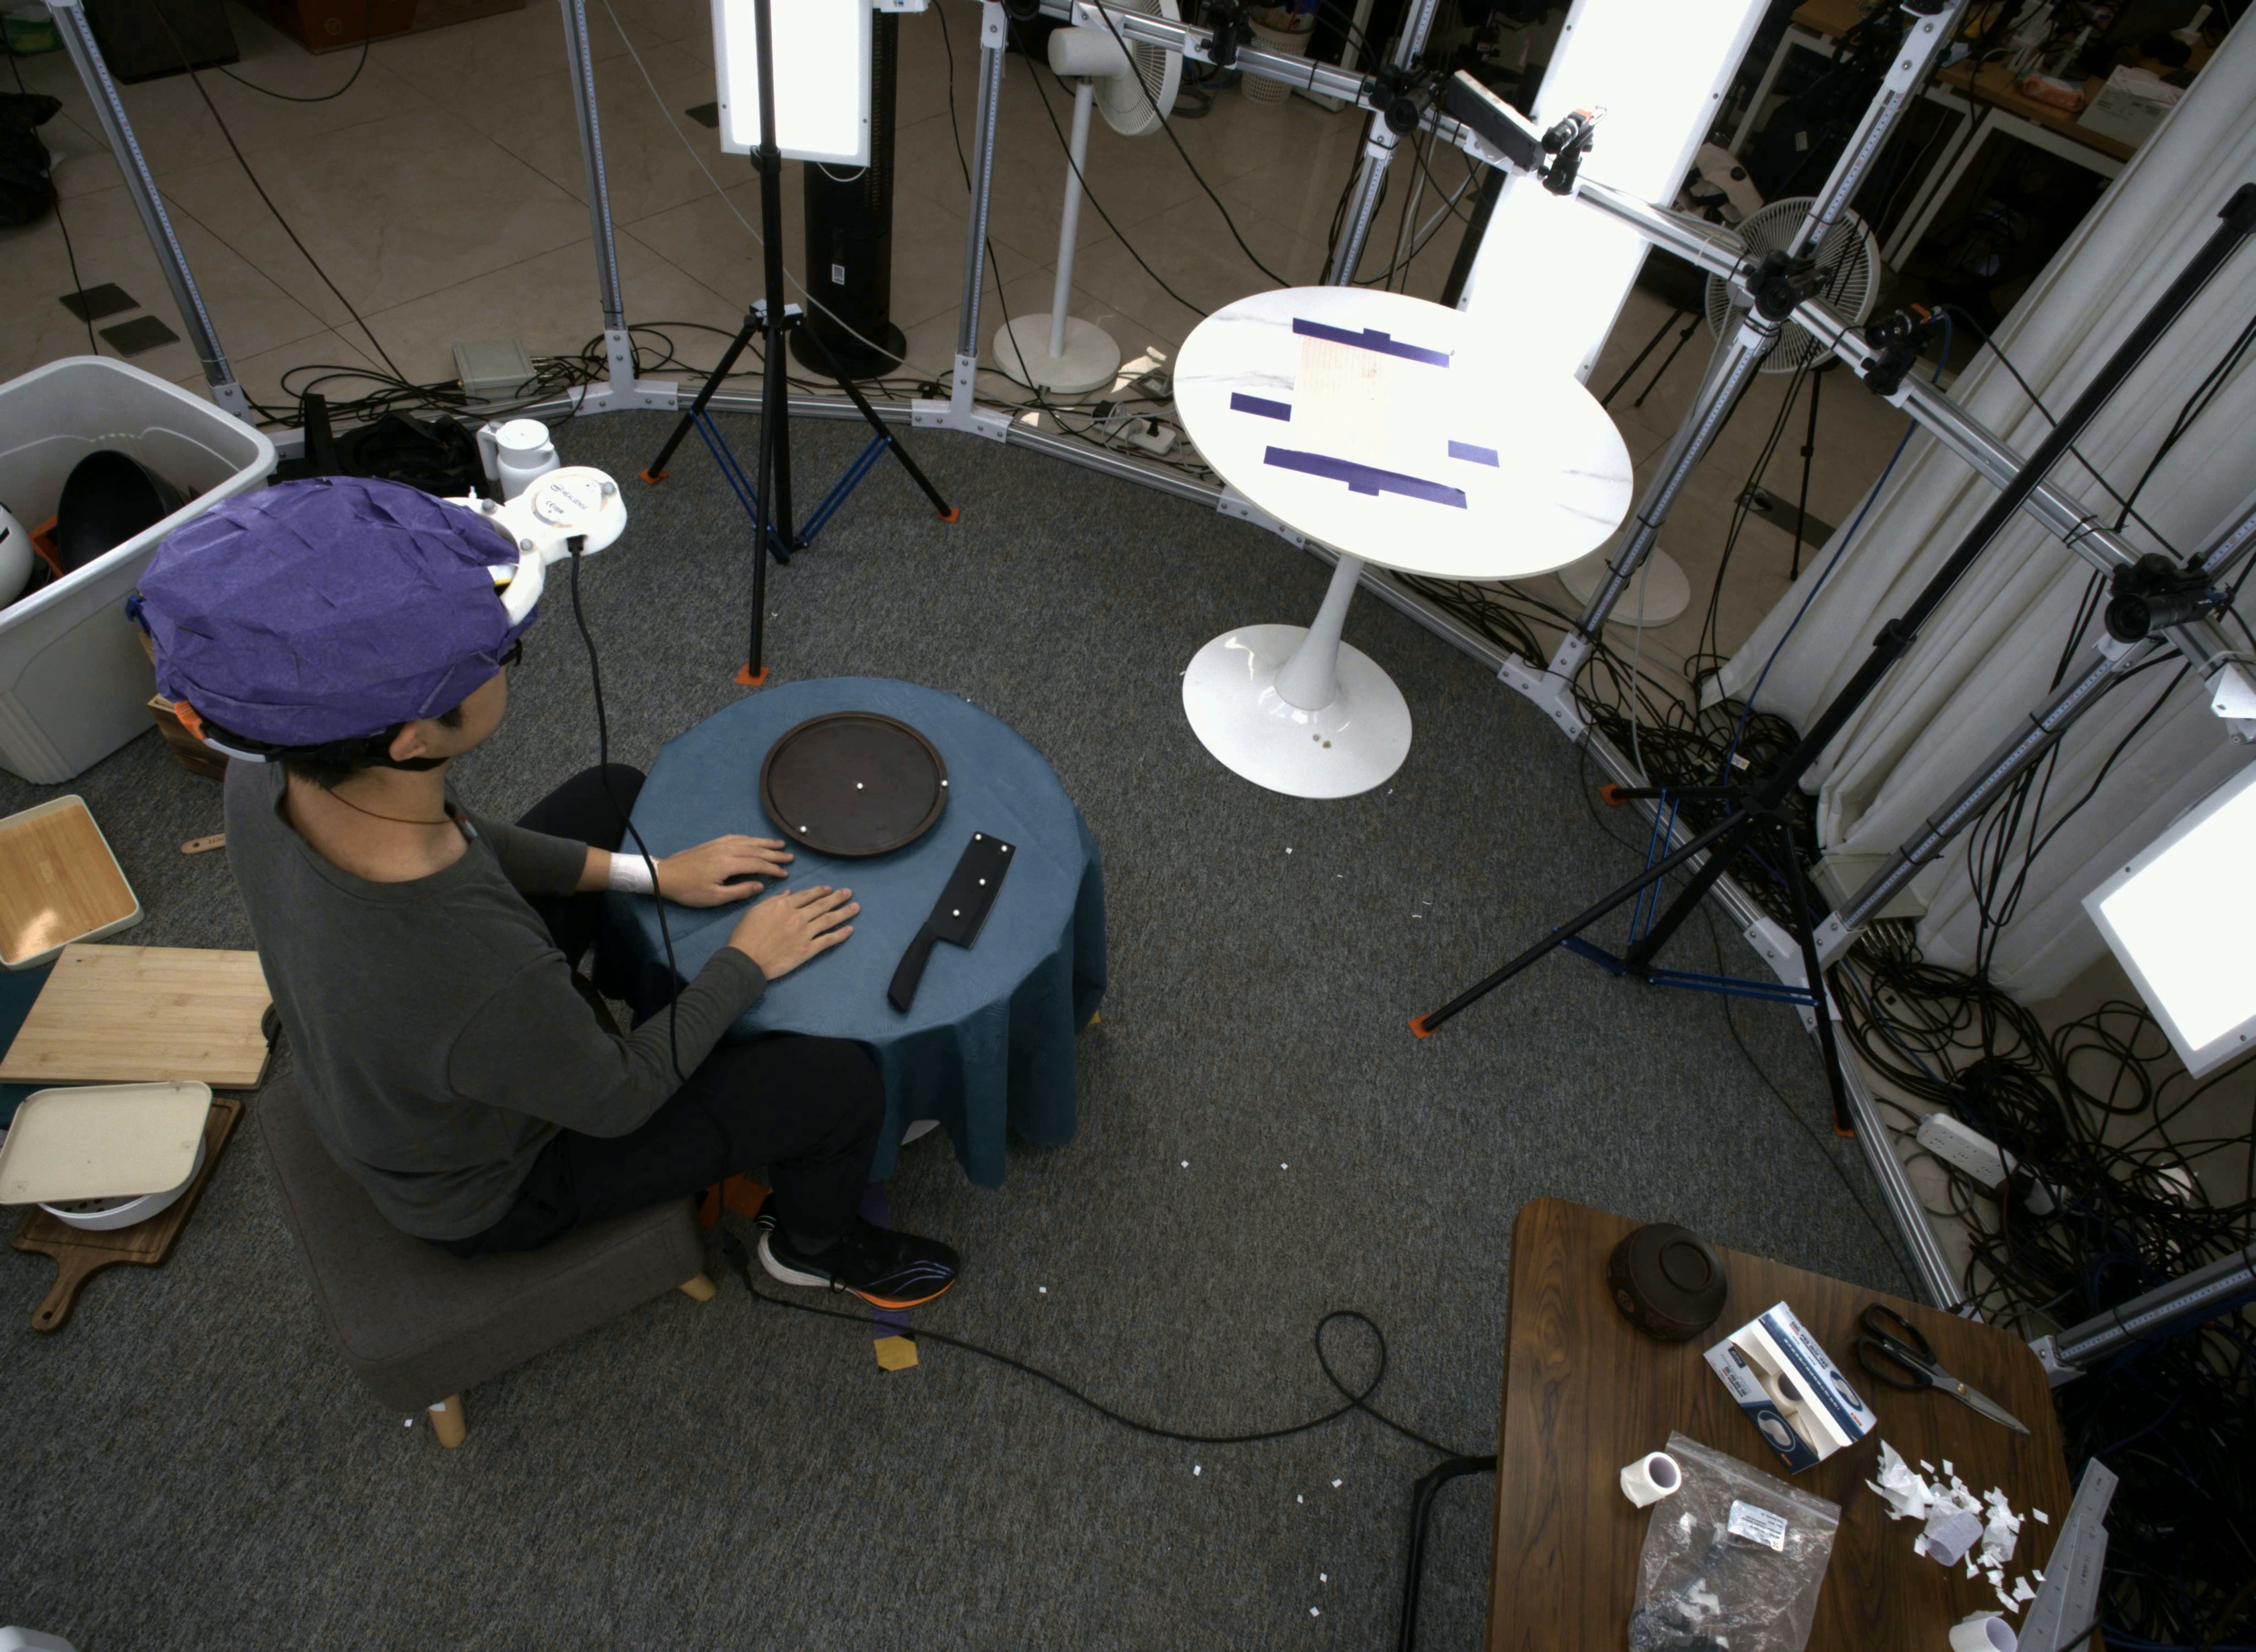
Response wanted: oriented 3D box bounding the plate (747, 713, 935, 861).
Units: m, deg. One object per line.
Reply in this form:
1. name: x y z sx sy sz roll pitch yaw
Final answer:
1. plate: -0.391 -0.055 1.770 0.254 0.029 0.250 8 52 -9

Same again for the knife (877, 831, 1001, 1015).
1. knife: -0.244 0.119 1.684 0.080 0.021 0.300 25 50 3
